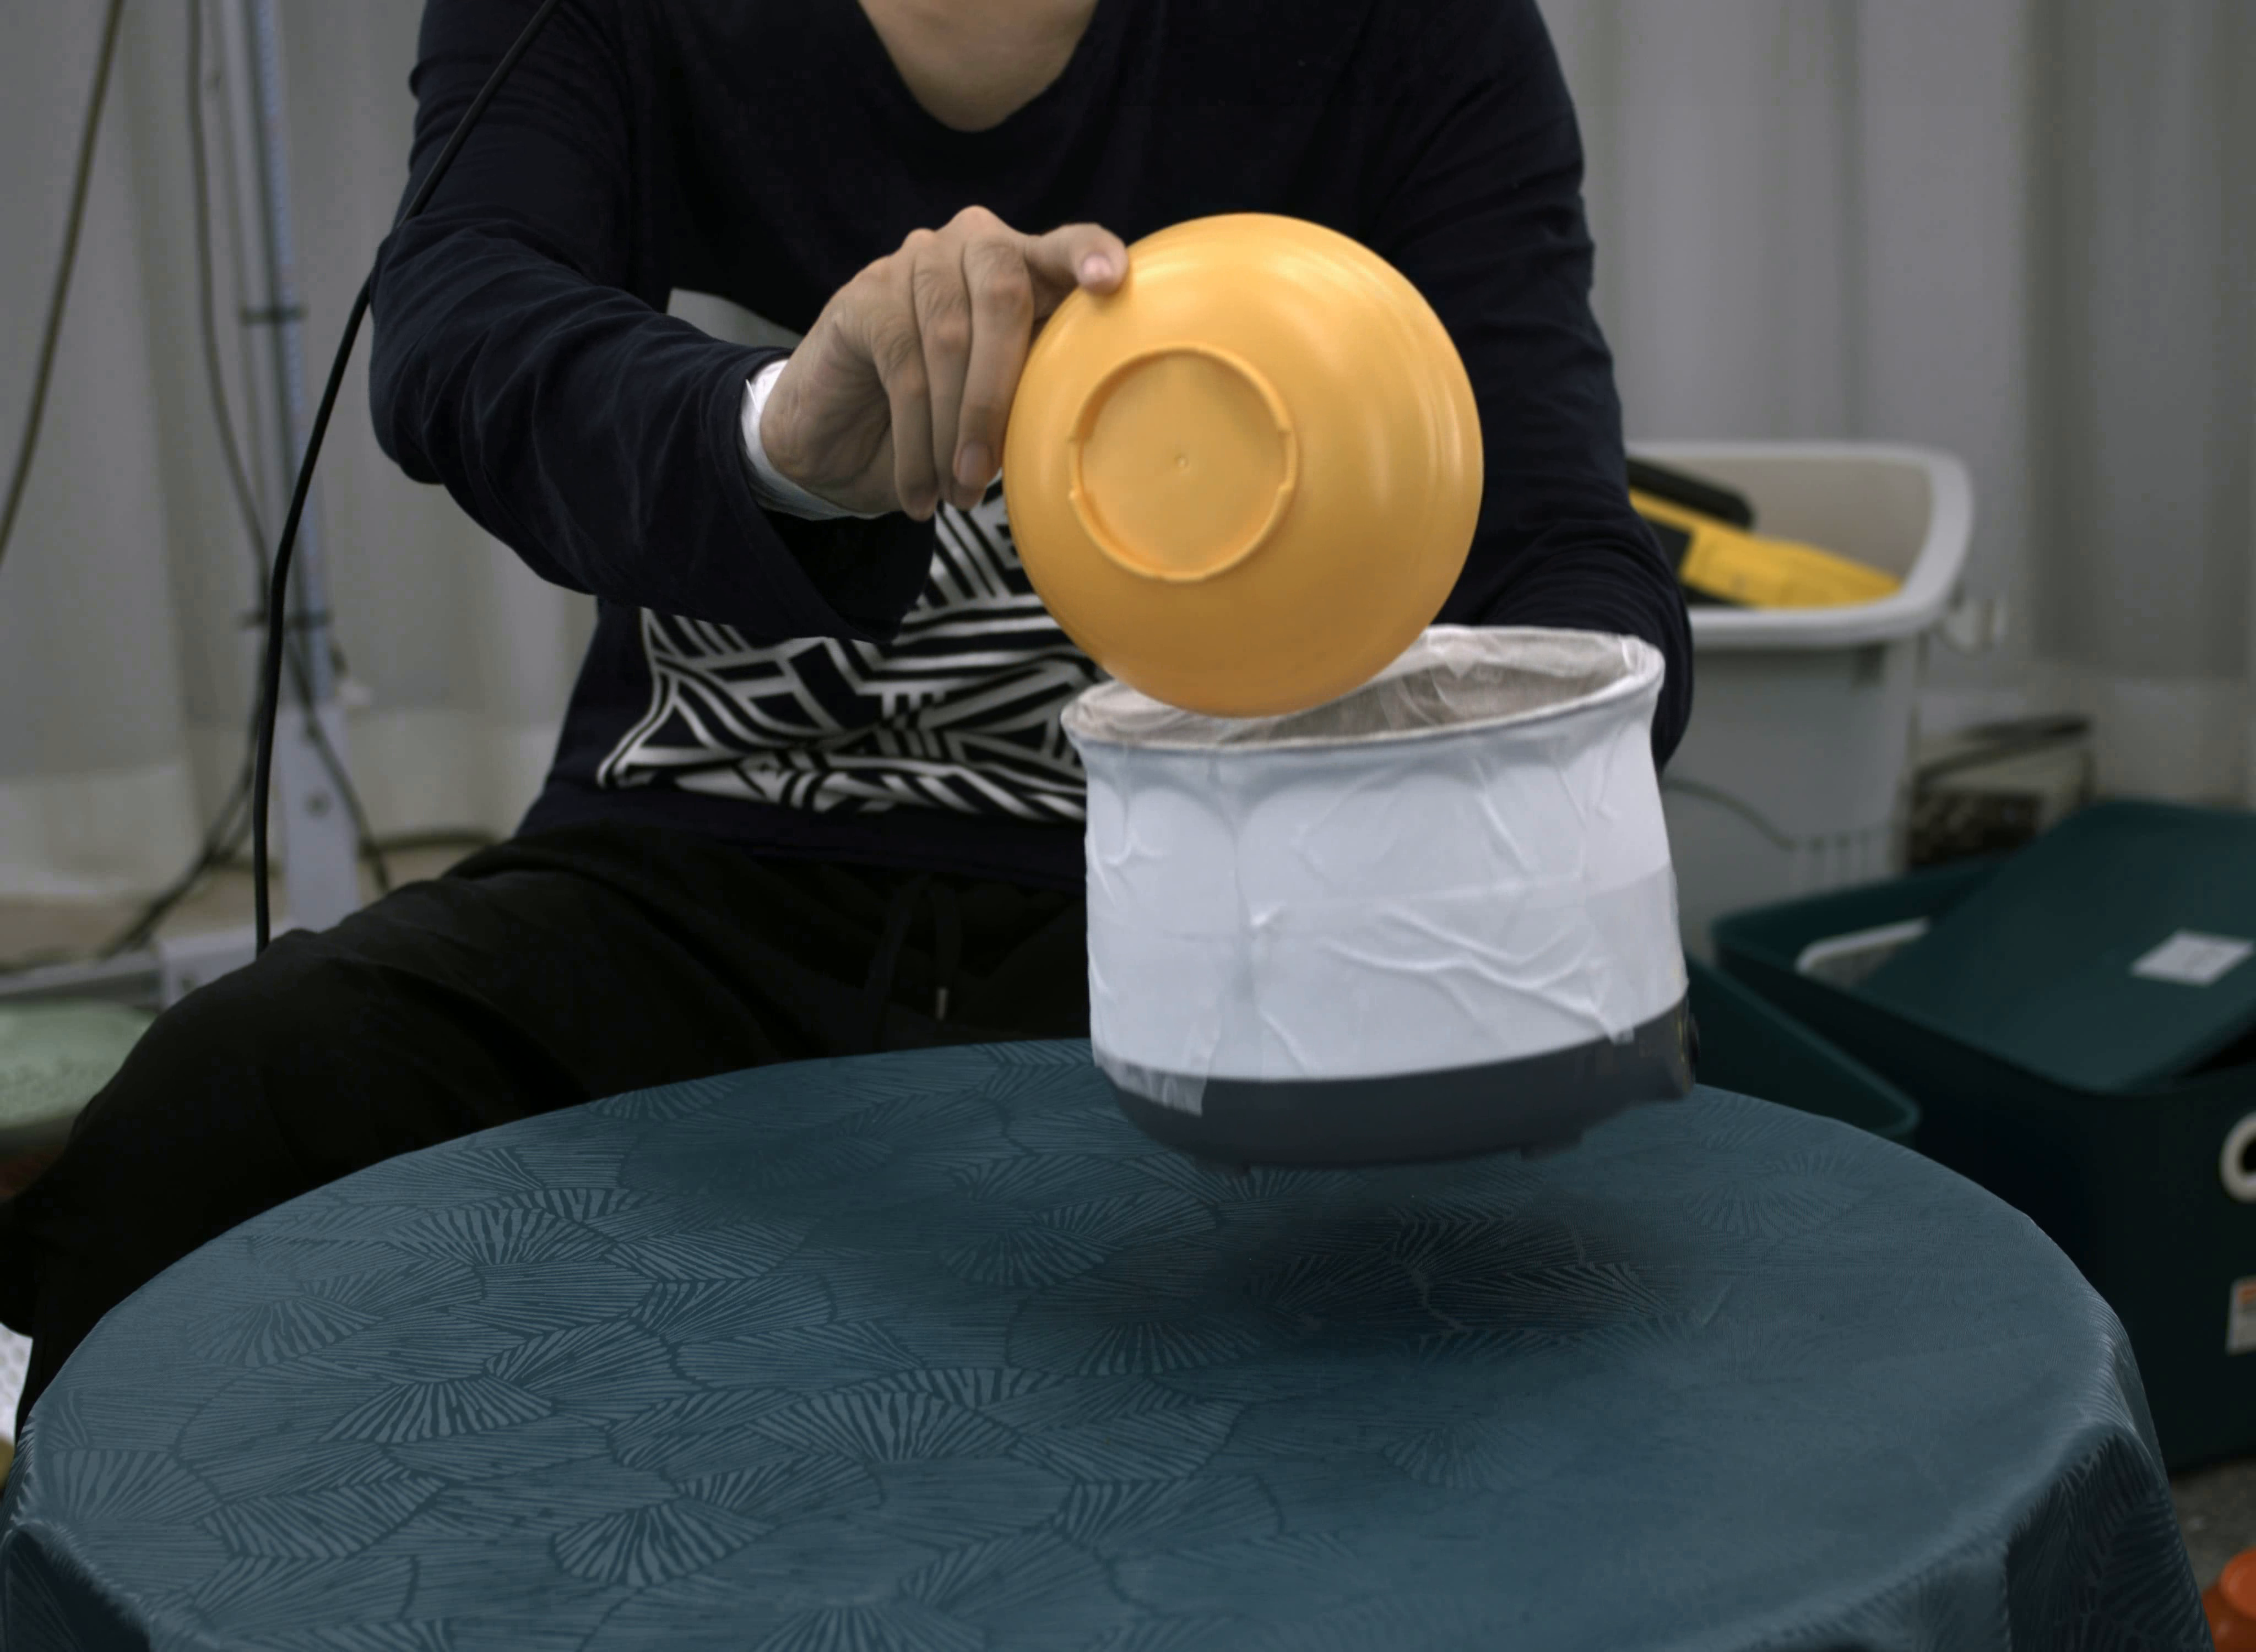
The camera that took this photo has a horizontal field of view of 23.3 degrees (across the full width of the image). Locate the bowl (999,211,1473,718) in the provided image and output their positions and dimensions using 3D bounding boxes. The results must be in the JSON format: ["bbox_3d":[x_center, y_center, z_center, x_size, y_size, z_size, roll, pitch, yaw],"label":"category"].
[{"bbox_3d":[0.021,-0.103,1.544,0.145,0.145,0.060,3,2,21],"label":"bowl"}]

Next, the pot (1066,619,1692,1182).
[{"bbox_3d":[0.076,0.018,1.629,0.178,0.136,0.235,-2,11,6],"label":"pot"}]
